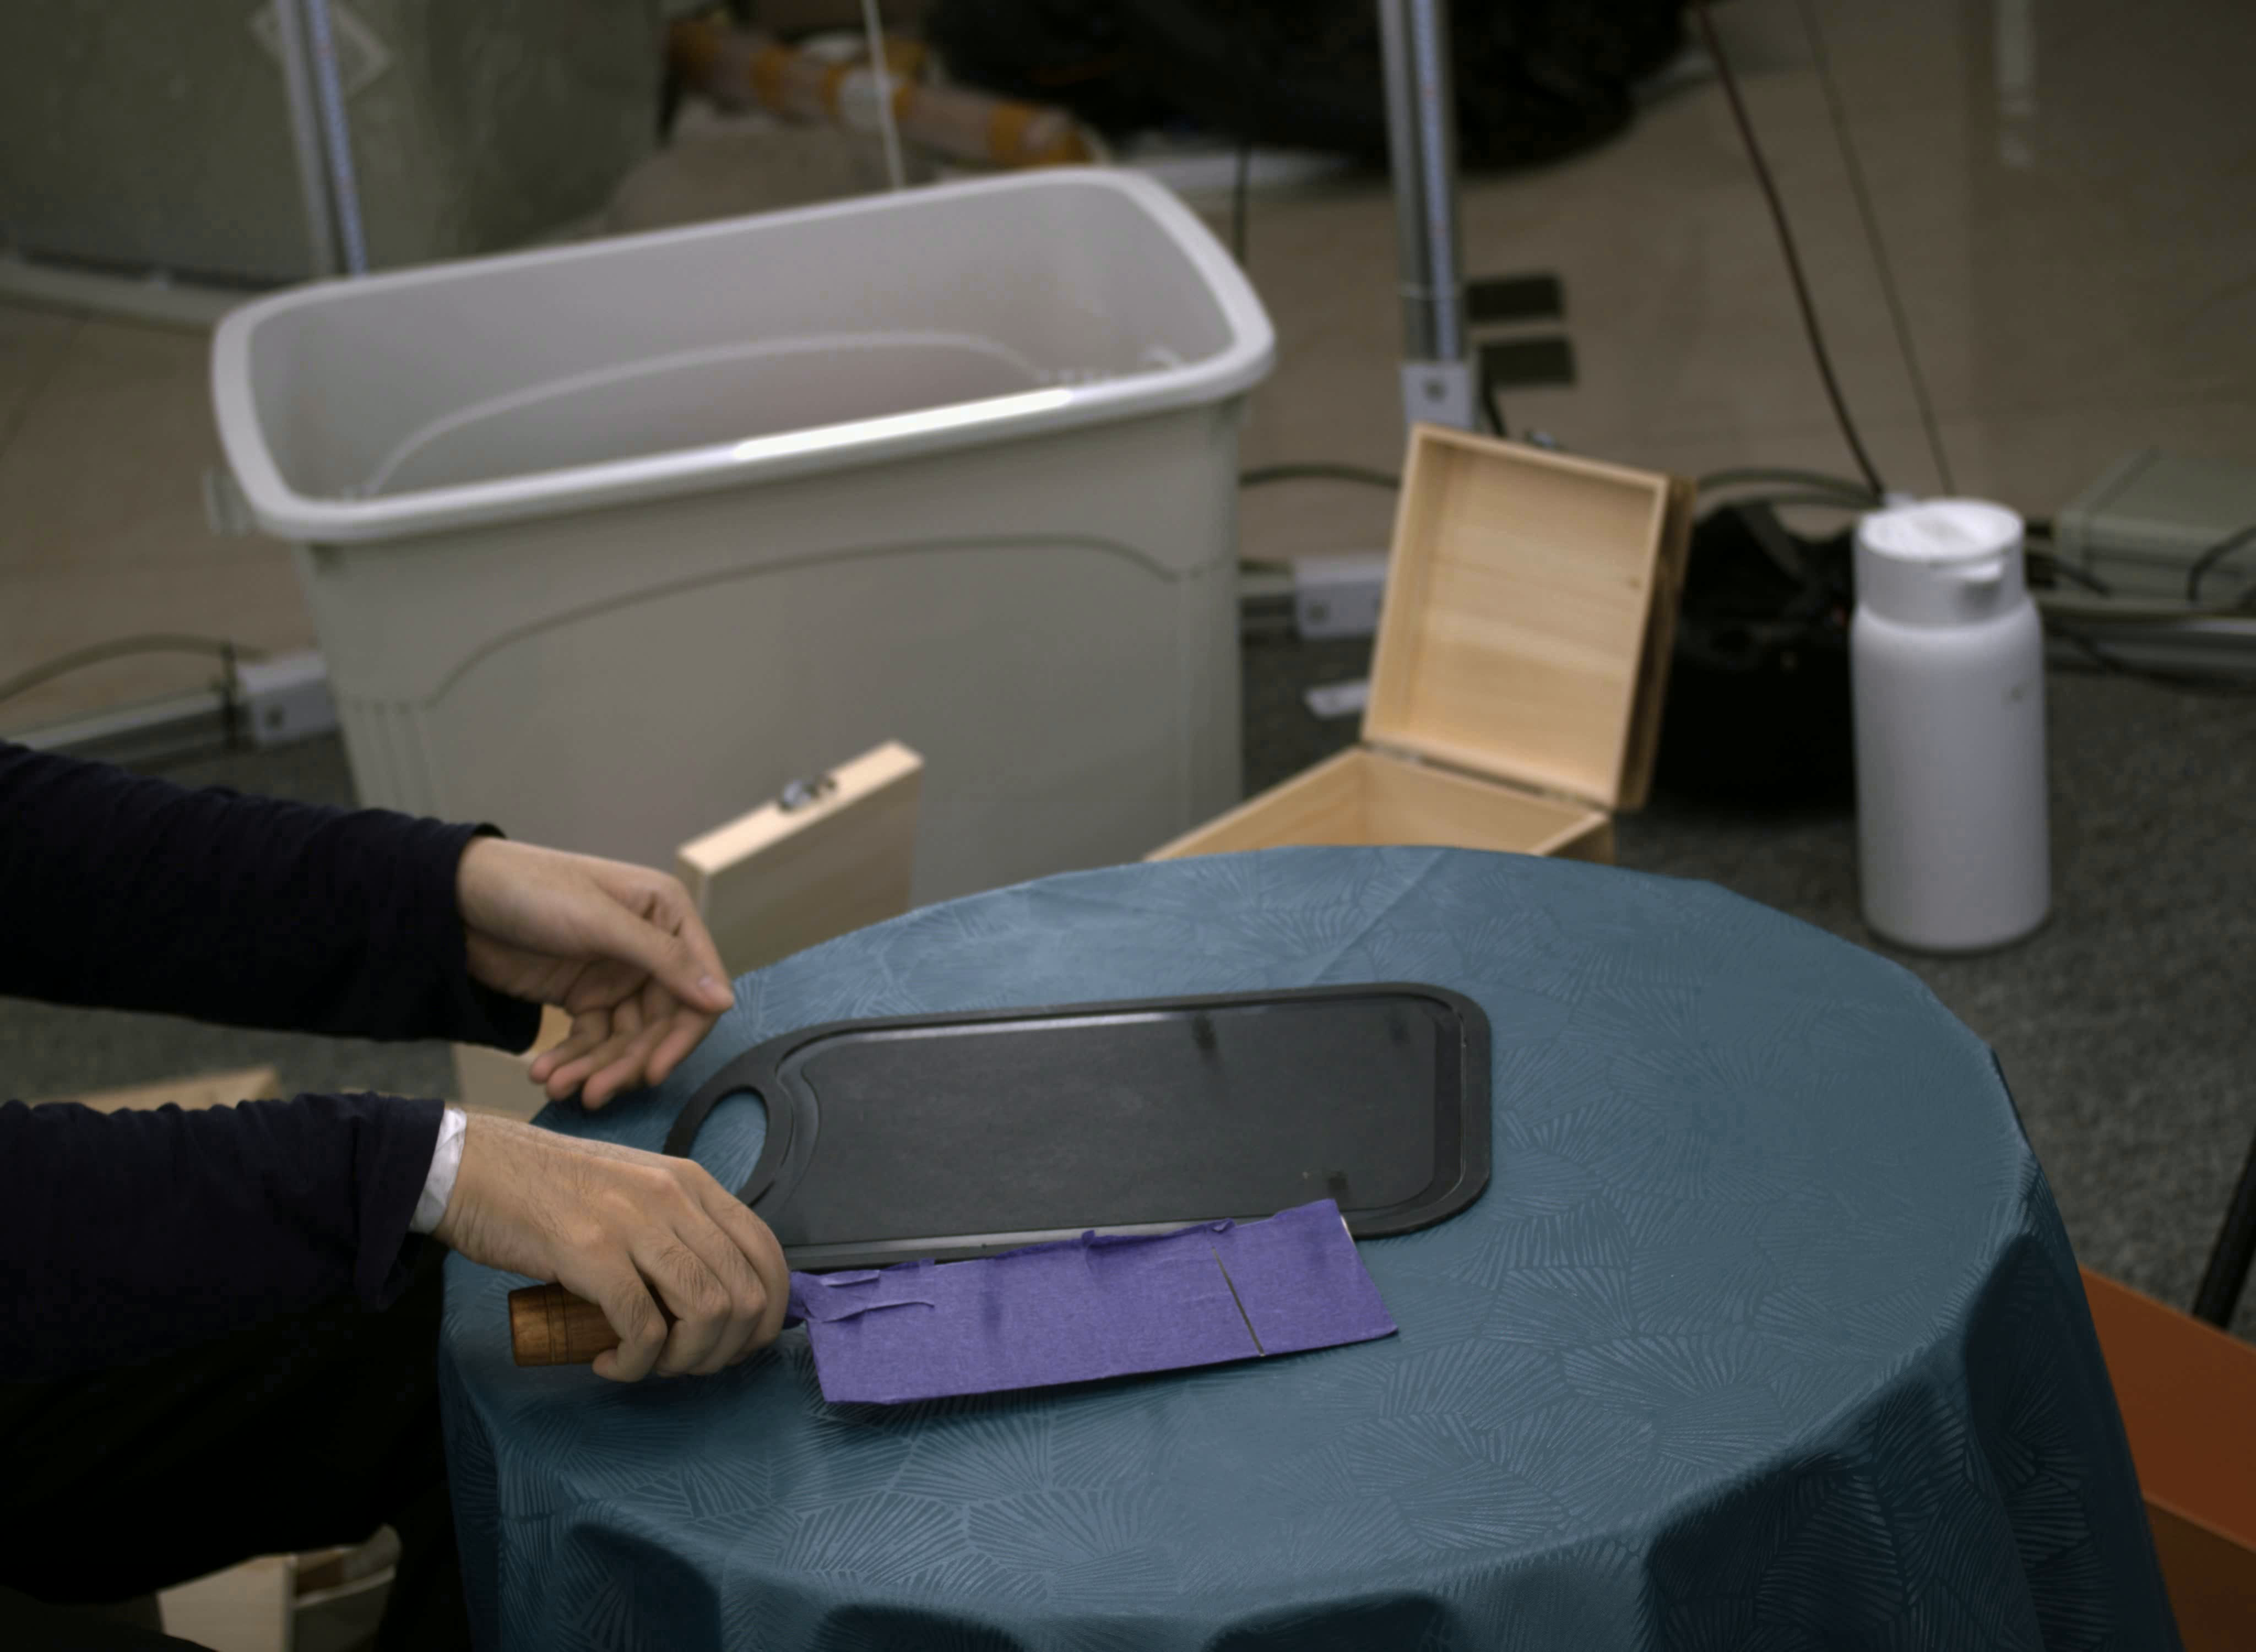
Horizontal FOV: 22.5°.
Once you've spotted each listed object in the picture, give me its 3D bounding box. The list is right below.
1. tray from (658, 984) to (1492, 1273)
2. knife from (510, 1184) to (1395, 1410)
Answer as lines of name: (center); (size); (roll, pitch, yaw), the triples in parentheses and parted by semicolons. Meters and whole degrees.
tray: (-0.021, 0.115, 2.201); (0.325, 0.010, 0.208); (-4, 25, 6)
knife: (-0.063, 0.176, 2.048); (0.314, 0.033, 0.102); (-9, 26, -8)
